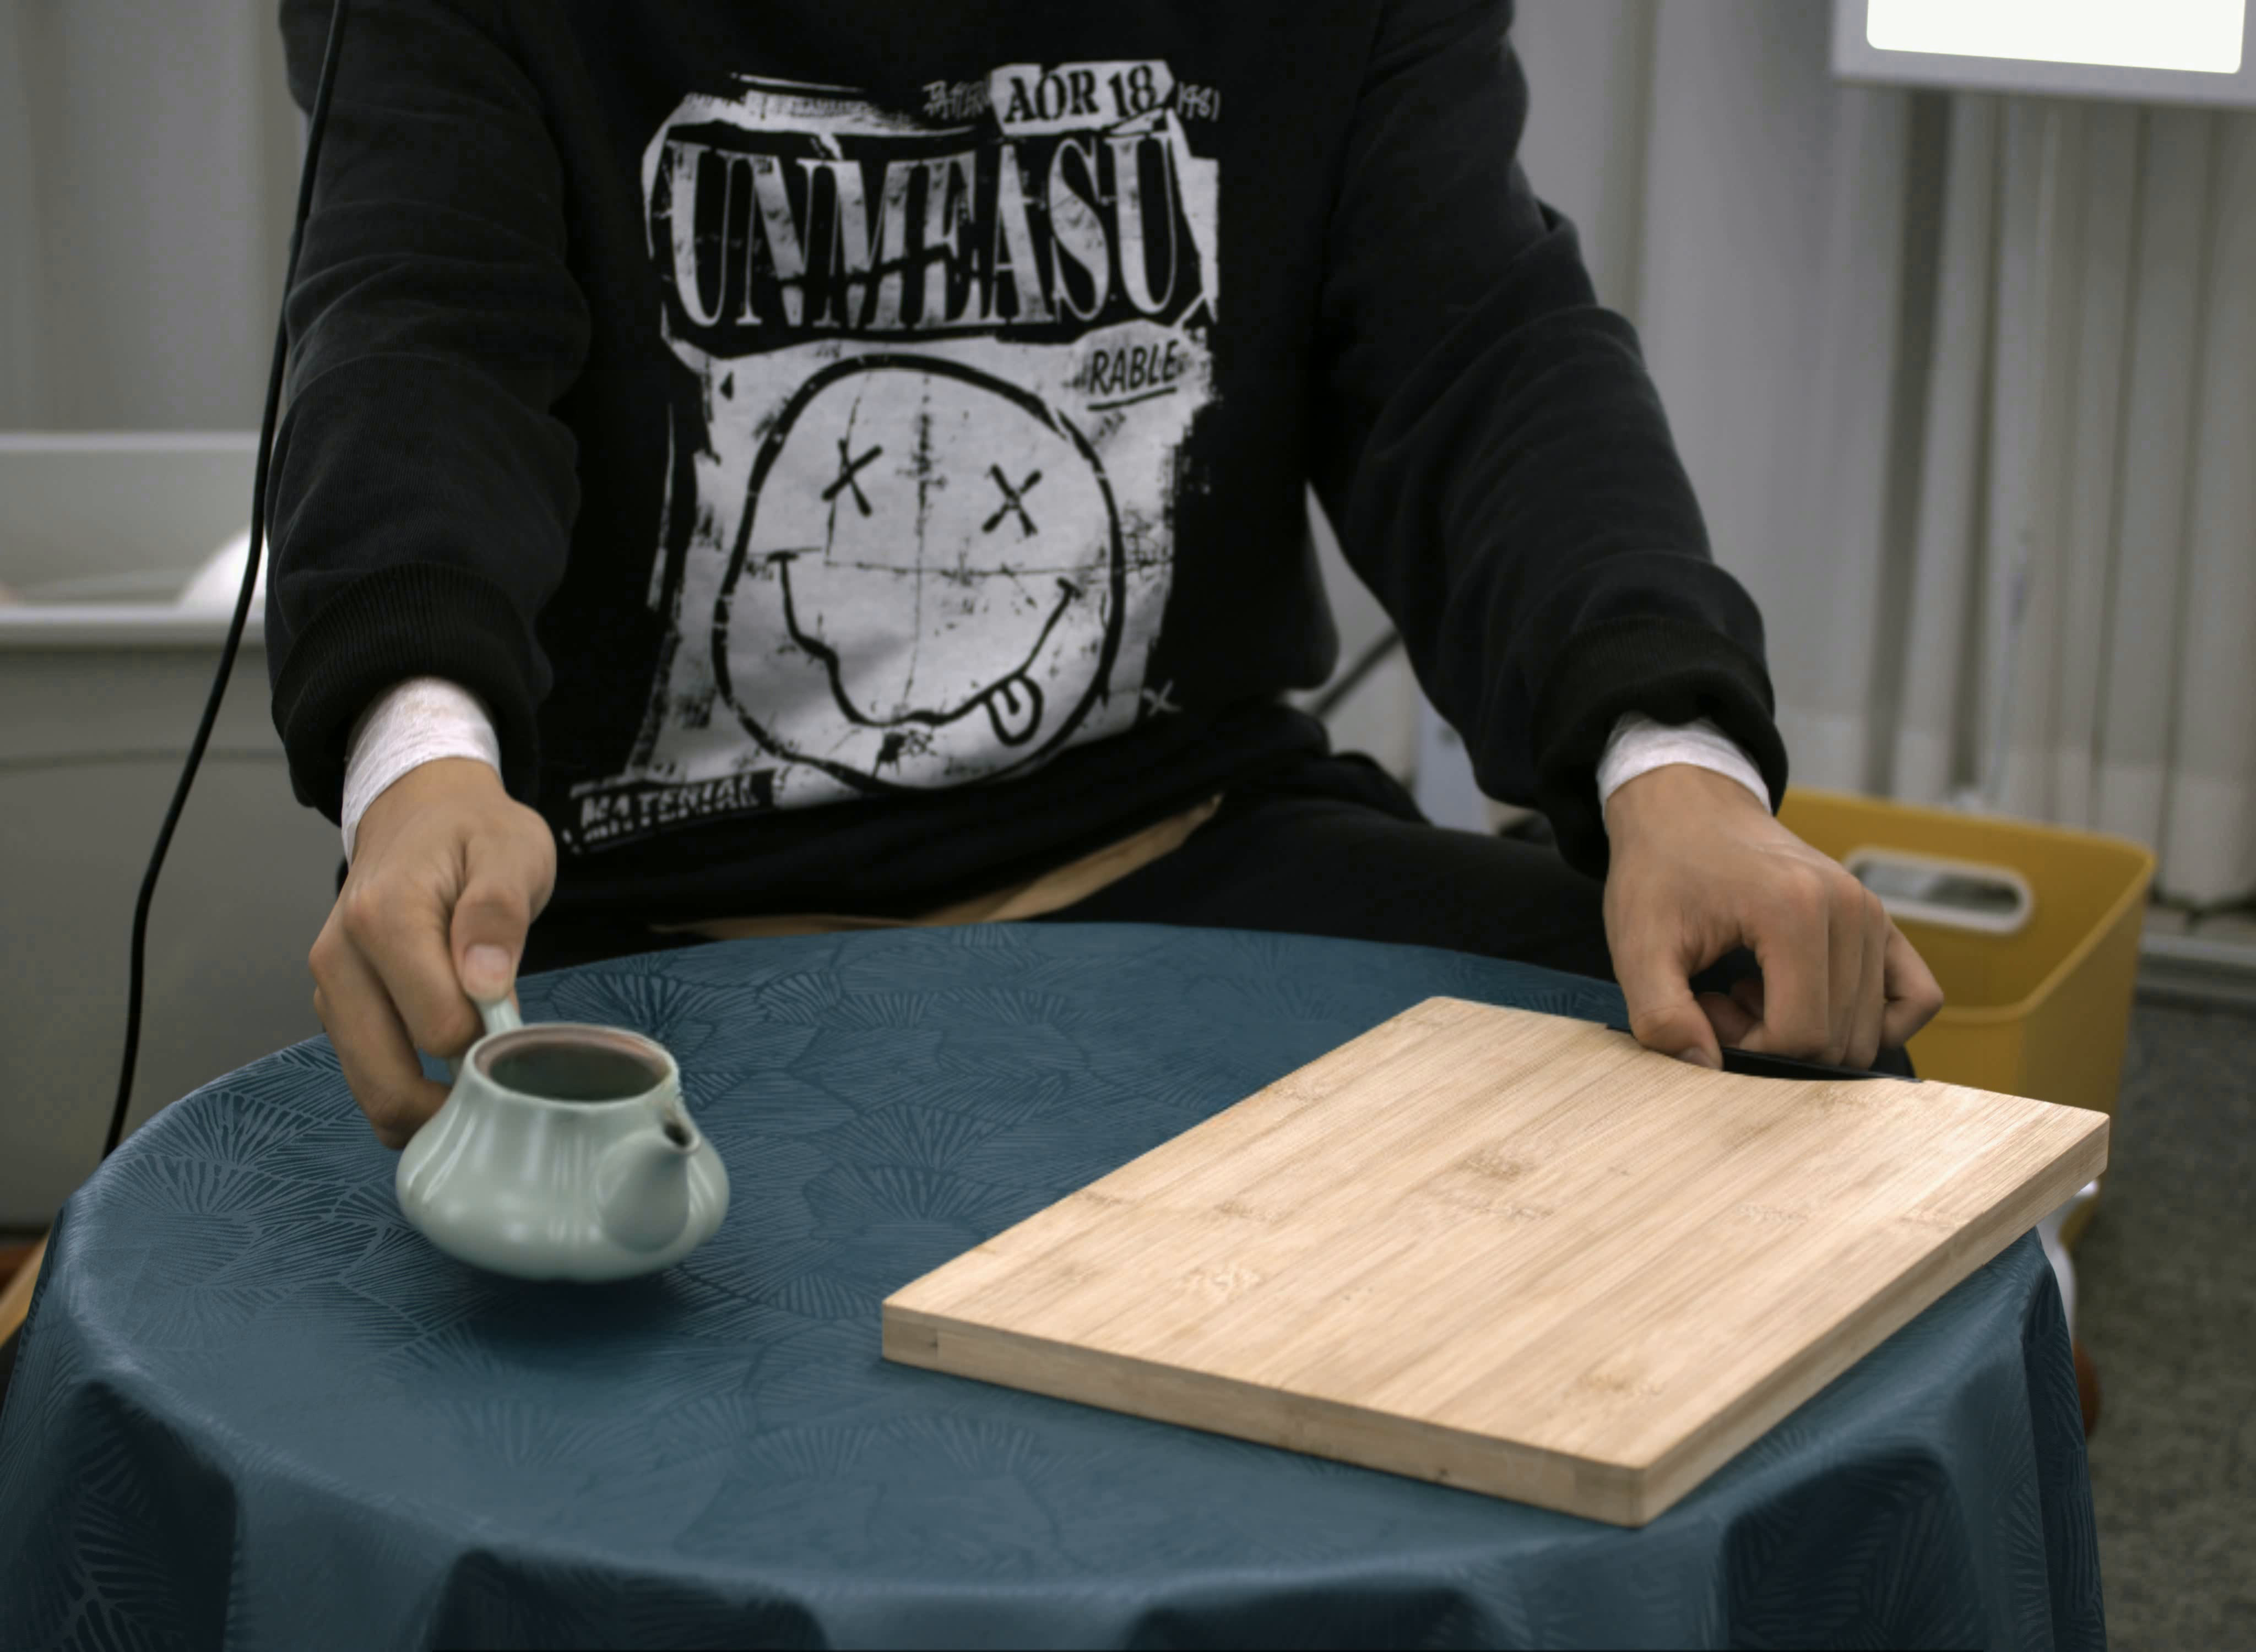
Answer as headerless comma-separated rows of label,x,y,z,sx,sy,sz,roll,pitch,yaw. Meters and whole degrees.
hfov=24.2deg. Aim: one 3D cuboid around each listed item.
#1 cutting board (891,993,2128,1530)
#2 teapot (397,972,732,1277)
cutting board,0.122,0.119,1.570,0.248,0.024,0.350,9,18,28
teapot,-0.164,0.089,1.520,0.096,0.062,0.135,-12,28,-37
